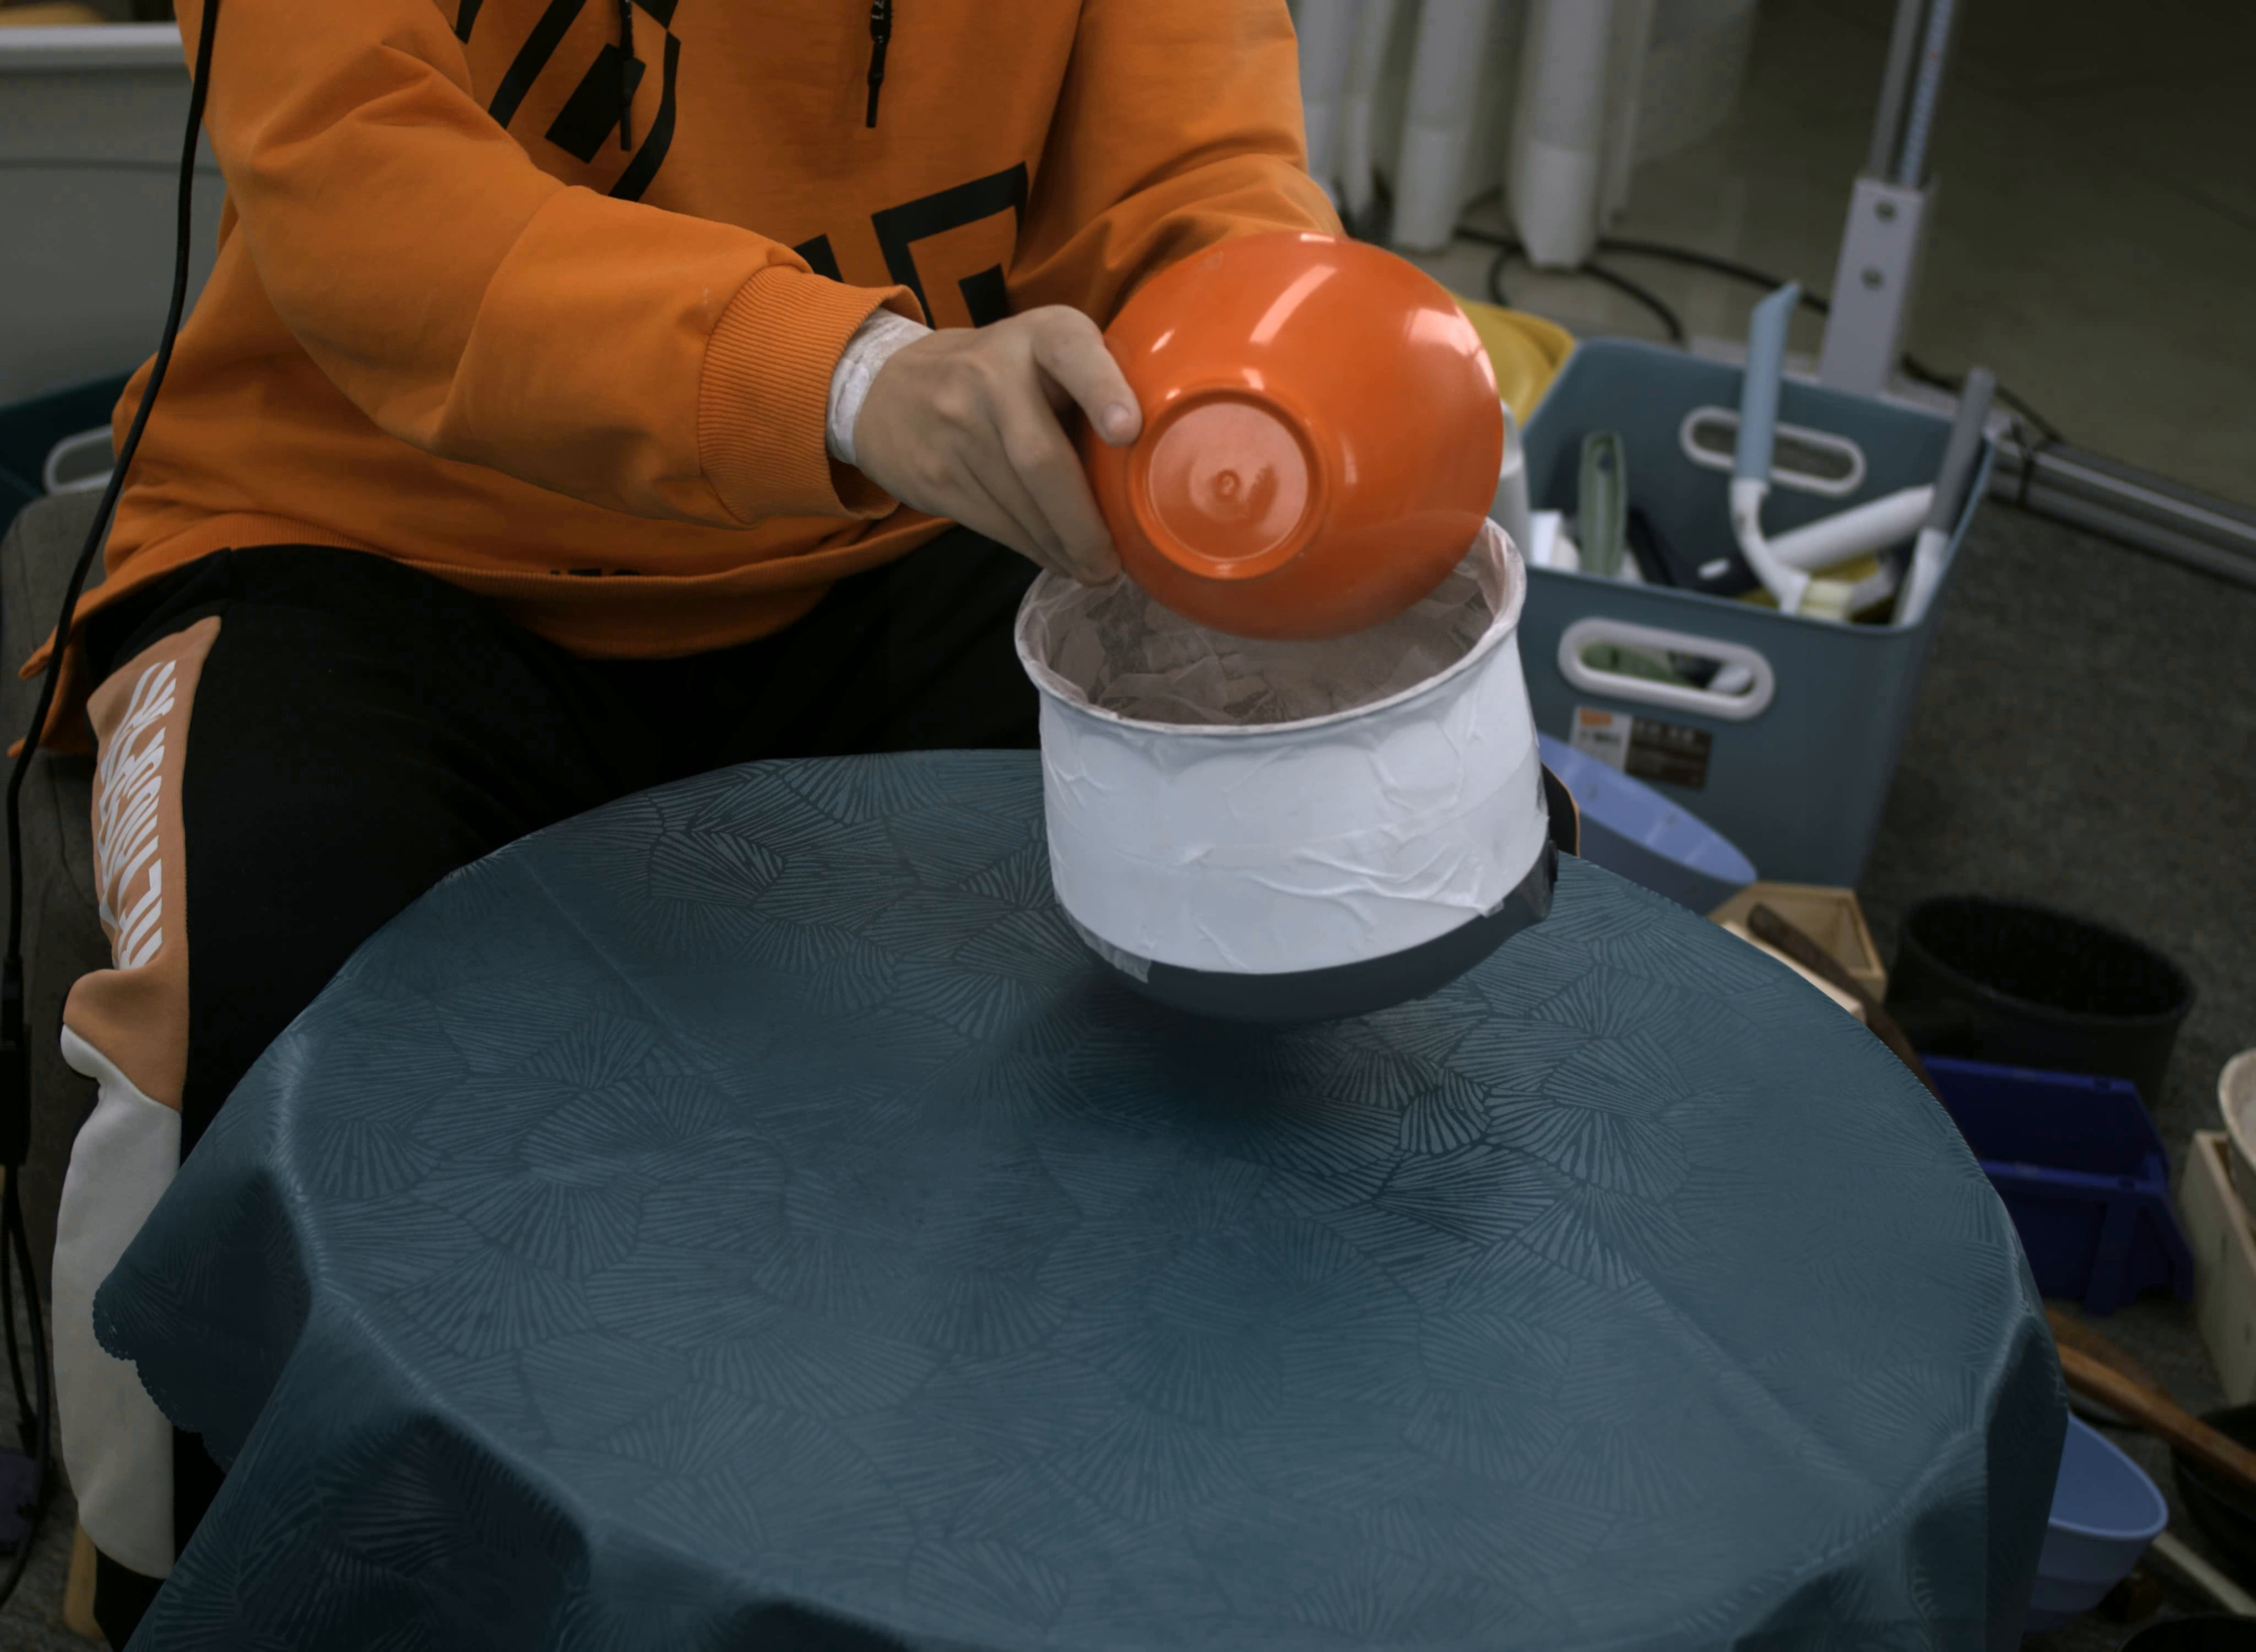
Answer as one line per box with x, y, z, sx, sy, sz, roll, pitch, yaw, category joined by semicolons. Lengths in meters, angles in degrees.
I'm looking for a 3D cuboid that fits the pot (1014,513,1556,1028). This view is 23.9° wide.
0.058;-0.039;1.878;0.178;0.136;0.235;-4;31;7;pot

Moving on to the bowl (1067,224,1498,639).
0.049;-0.124;1.796;0.148;0.148;0.105;10;17;5;bowl
